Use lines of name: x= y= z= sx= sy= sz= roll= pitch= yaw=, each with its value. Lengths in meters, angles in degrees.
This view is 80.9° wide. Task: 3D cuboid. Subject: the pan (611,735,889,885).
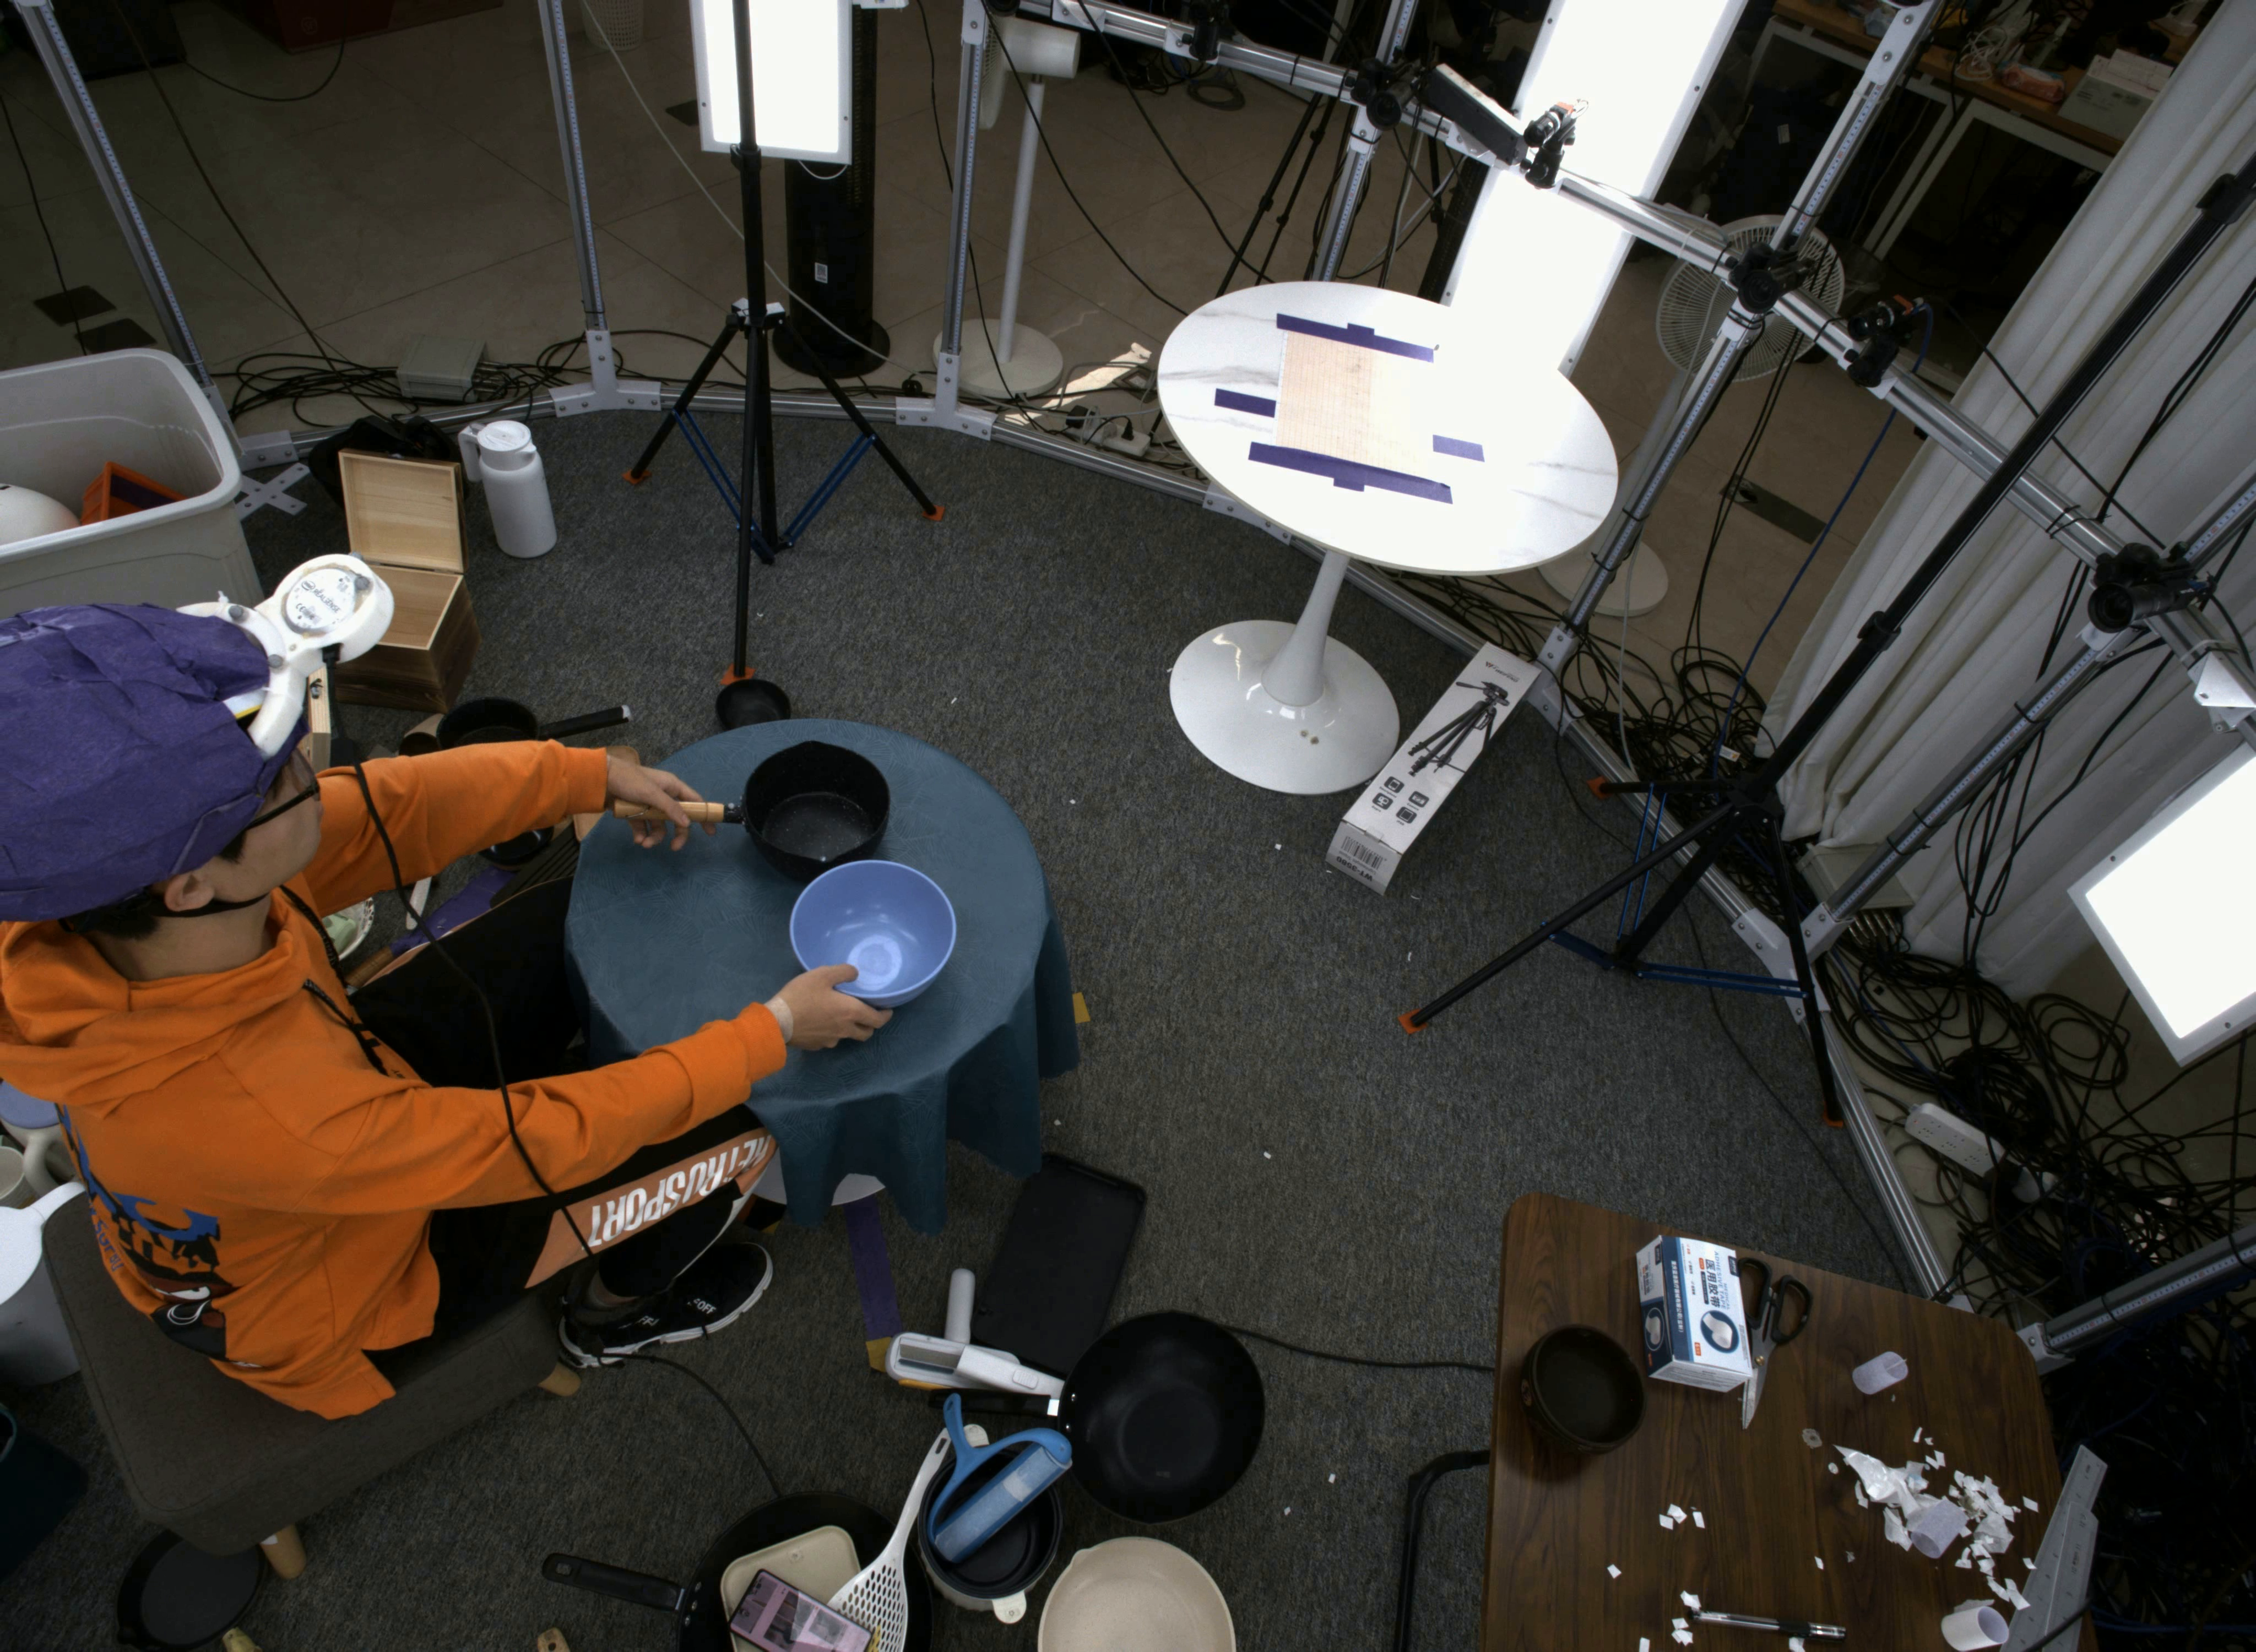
pan: x=-0.476 y=-0.011 z=1.638 sx=0.344 sy=0.110 sz=0.203 roll=-5 pitch=57 yaw=-20

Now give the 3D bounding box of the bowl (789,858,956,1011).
bowl: x=-0.309 y=0.145 z=1.574 sx=0.196 sy=0.097 sz=0.193 roll=8 pitch=52 yaw=-9
